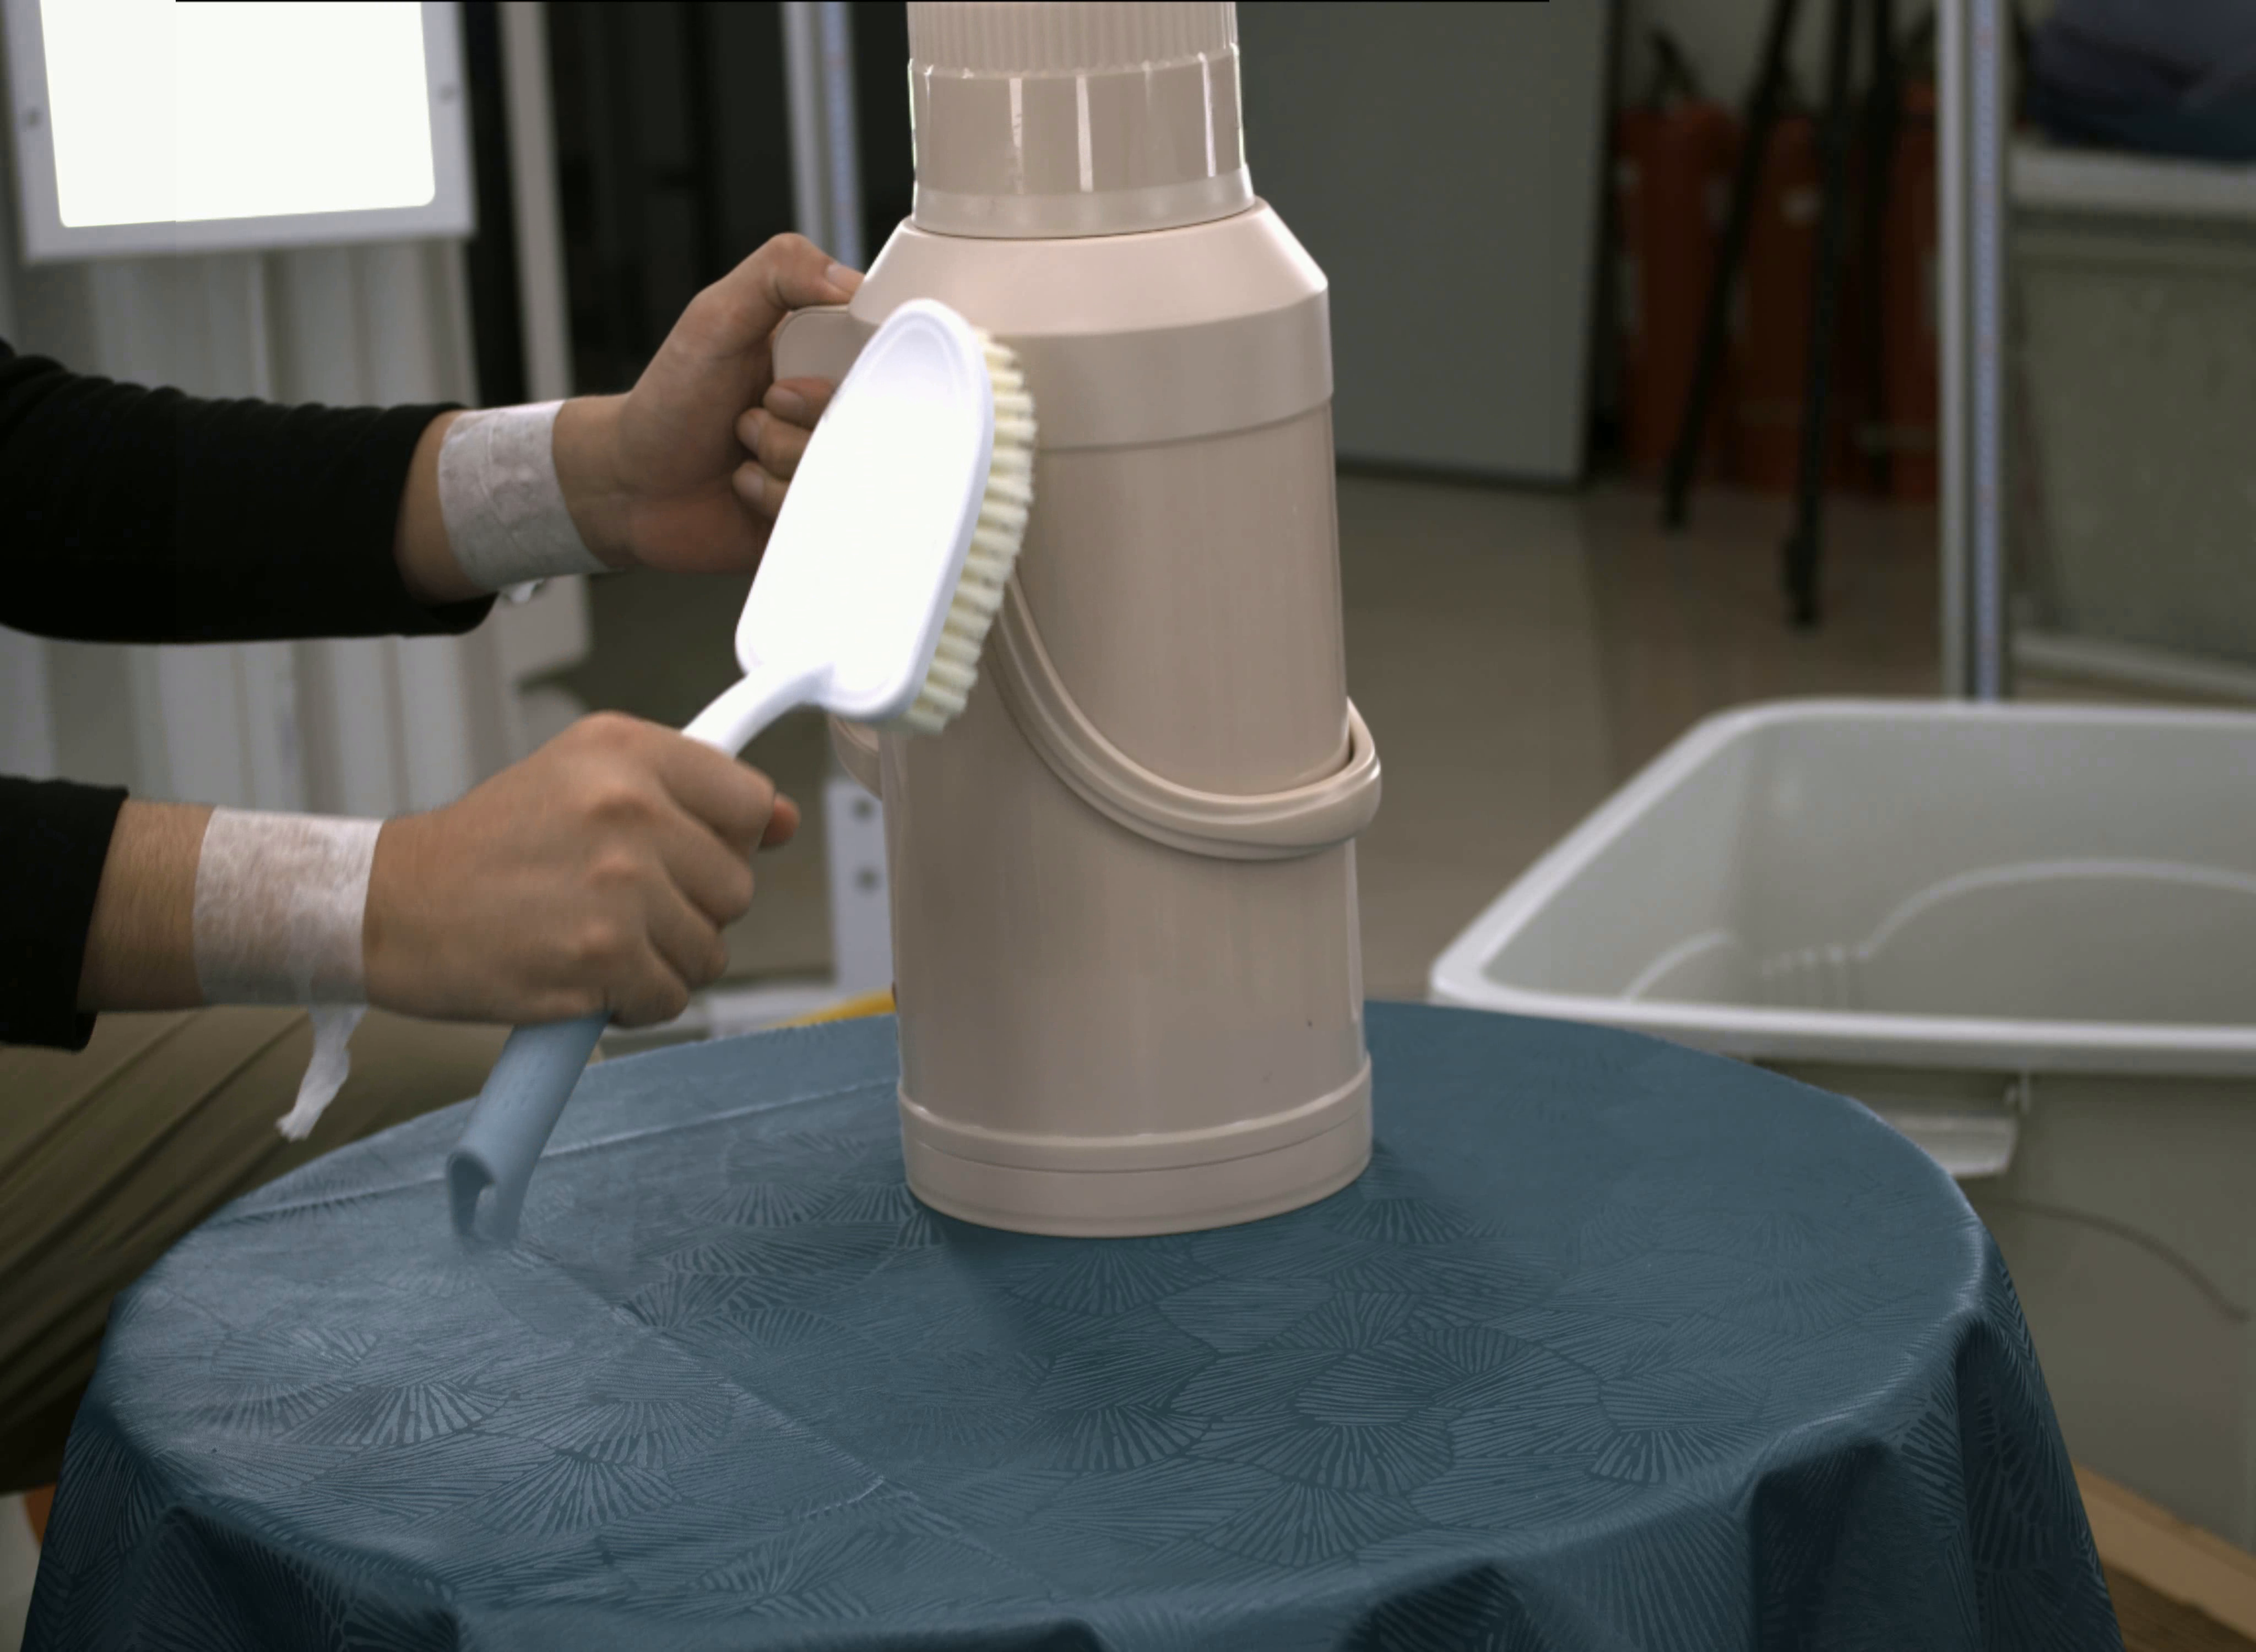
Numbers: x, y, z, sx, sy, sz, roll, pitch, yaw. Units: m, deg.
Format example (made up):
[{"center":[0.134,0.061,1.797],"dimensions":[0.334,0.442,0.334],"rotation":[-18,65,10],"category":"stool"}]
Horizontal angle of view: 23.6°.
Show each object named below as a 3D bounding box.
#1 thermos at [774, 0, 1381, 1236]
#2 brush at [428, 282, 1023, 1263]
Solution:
[{"center":[-0.019,-0.082,1.764],"dimensions":[0.208,0.410,0.173],"rotation":[4,17,30],"category":"thermos"},{"center":[-0.115,-0.009,1.622],"dimensions":[0.083,0.327,0.084],"rotation":[28,-13,-16],"category":"brush"}]
